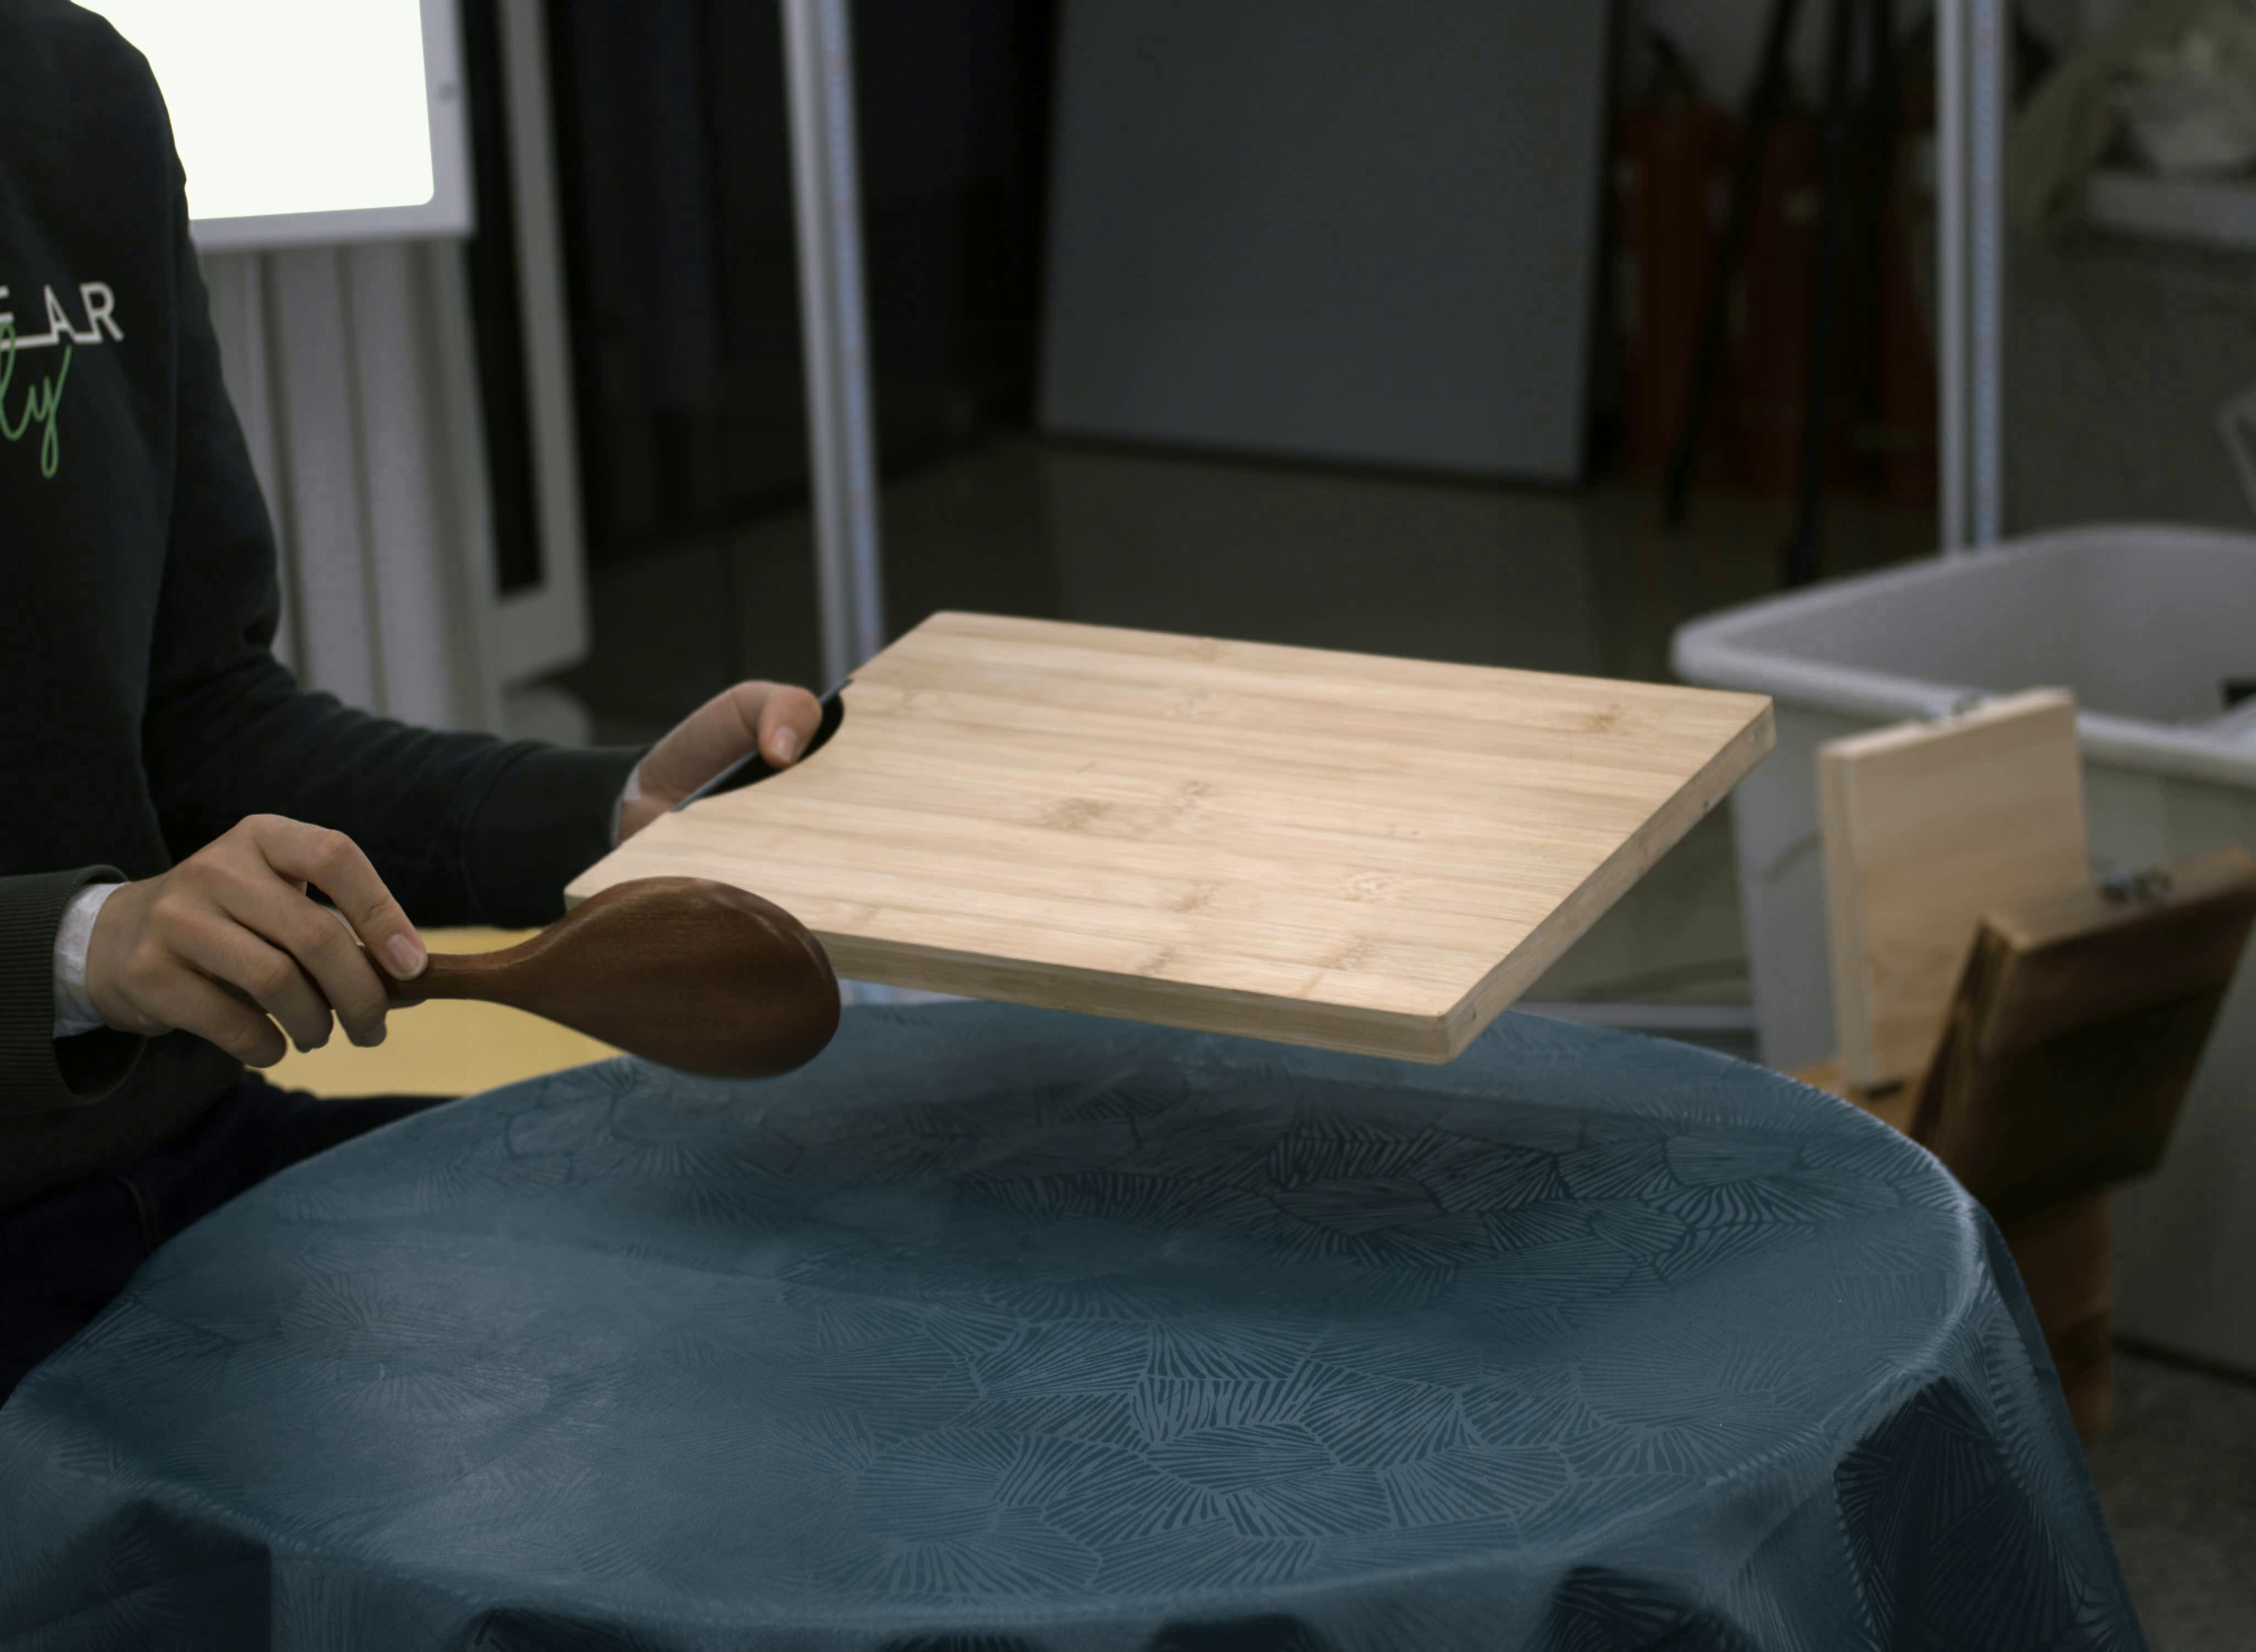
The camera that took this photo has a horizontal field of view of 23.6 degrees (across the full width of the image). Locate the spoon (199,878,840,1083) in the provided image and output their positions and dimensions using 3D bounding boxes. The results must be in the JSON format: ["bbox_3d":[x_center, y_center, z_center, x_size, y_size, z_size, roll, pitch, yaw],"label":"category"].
[{"bbox_3d":[-0.182,0.045,1.590,0.216,0.075,0.017,2,39,27],"label":"spoon"}]

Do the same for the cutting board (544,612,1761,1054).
[{"bbox_3d":[0.008,-0.004,1.806,0.350,0.024,0.247,6,28,32],"label":"cutting board"}]
